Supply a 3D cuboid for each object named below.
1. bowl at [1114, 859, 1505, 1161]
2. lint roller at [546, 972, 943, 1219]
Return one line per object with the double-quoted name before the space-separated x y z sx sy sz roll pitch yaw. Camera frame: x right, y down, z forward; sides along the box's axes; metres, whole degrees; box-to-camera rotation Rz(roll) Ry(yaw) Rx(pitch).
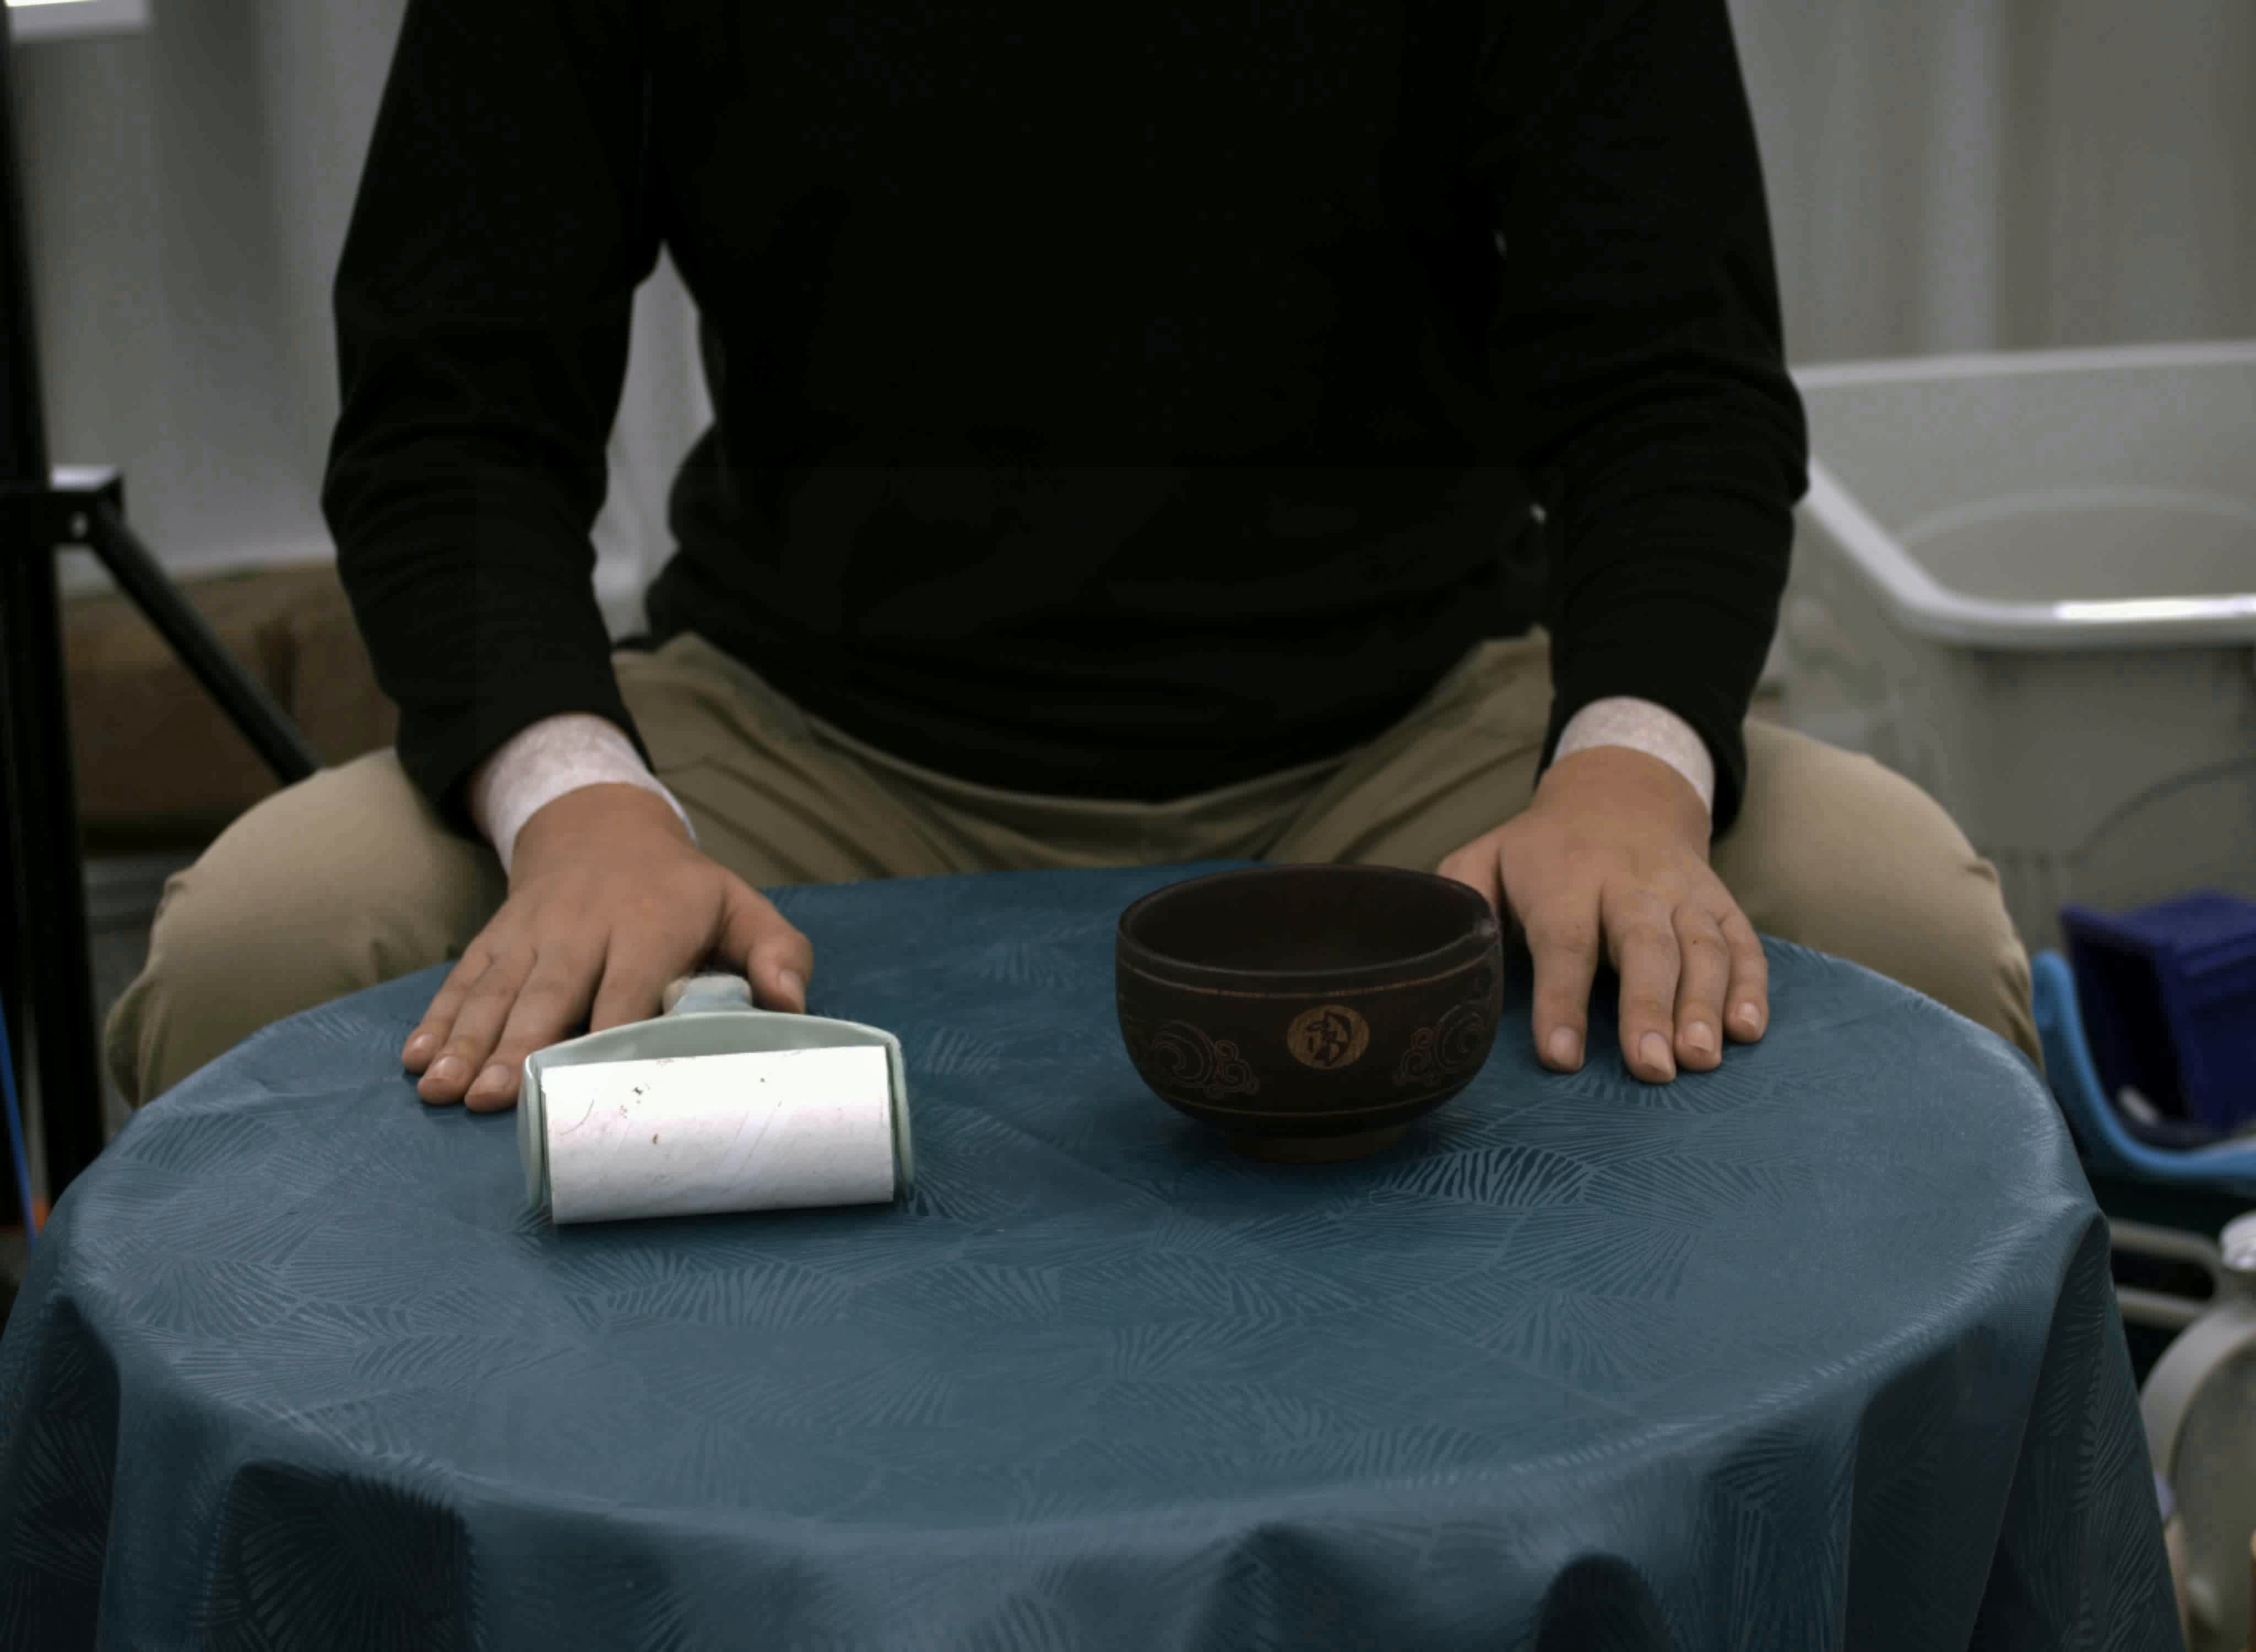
"bowl" 0.055 0.059 1.591 0.117 0.070 0.118 -4 15 0
"lint roller" -0.119 0.071 1.625 0.116 0.048 0.199 -5 14 -5
